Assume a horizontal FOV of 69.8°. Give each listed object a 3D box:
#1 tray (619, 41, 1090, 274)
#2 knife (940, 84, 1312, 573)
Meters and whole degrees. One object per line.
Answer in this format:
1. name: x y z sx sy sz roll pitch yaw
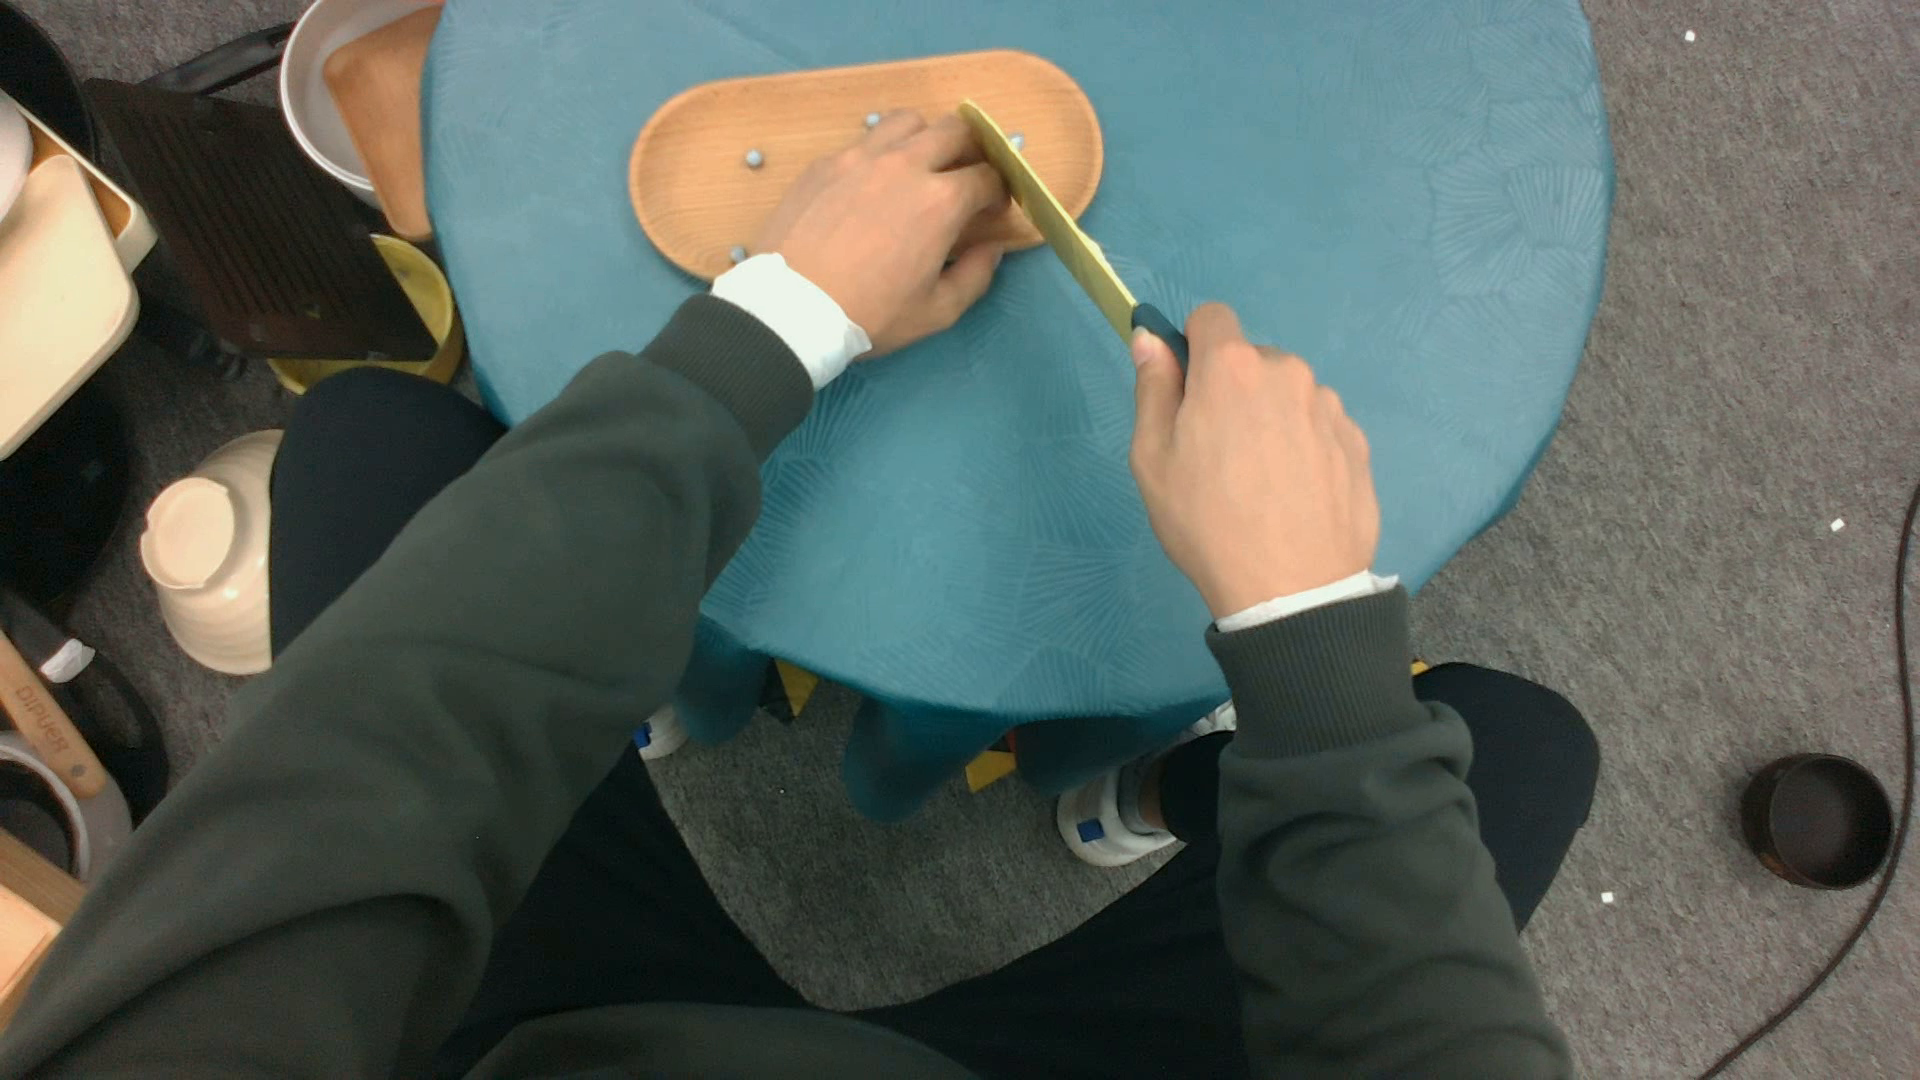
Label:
1. tray: -0.050 -0.188 0.677 0.231 0.020 0.102 -9 84 -9
2. knife: 0.064 -0.101 0.611 0.027 0.081 0.290 -34 70 3
